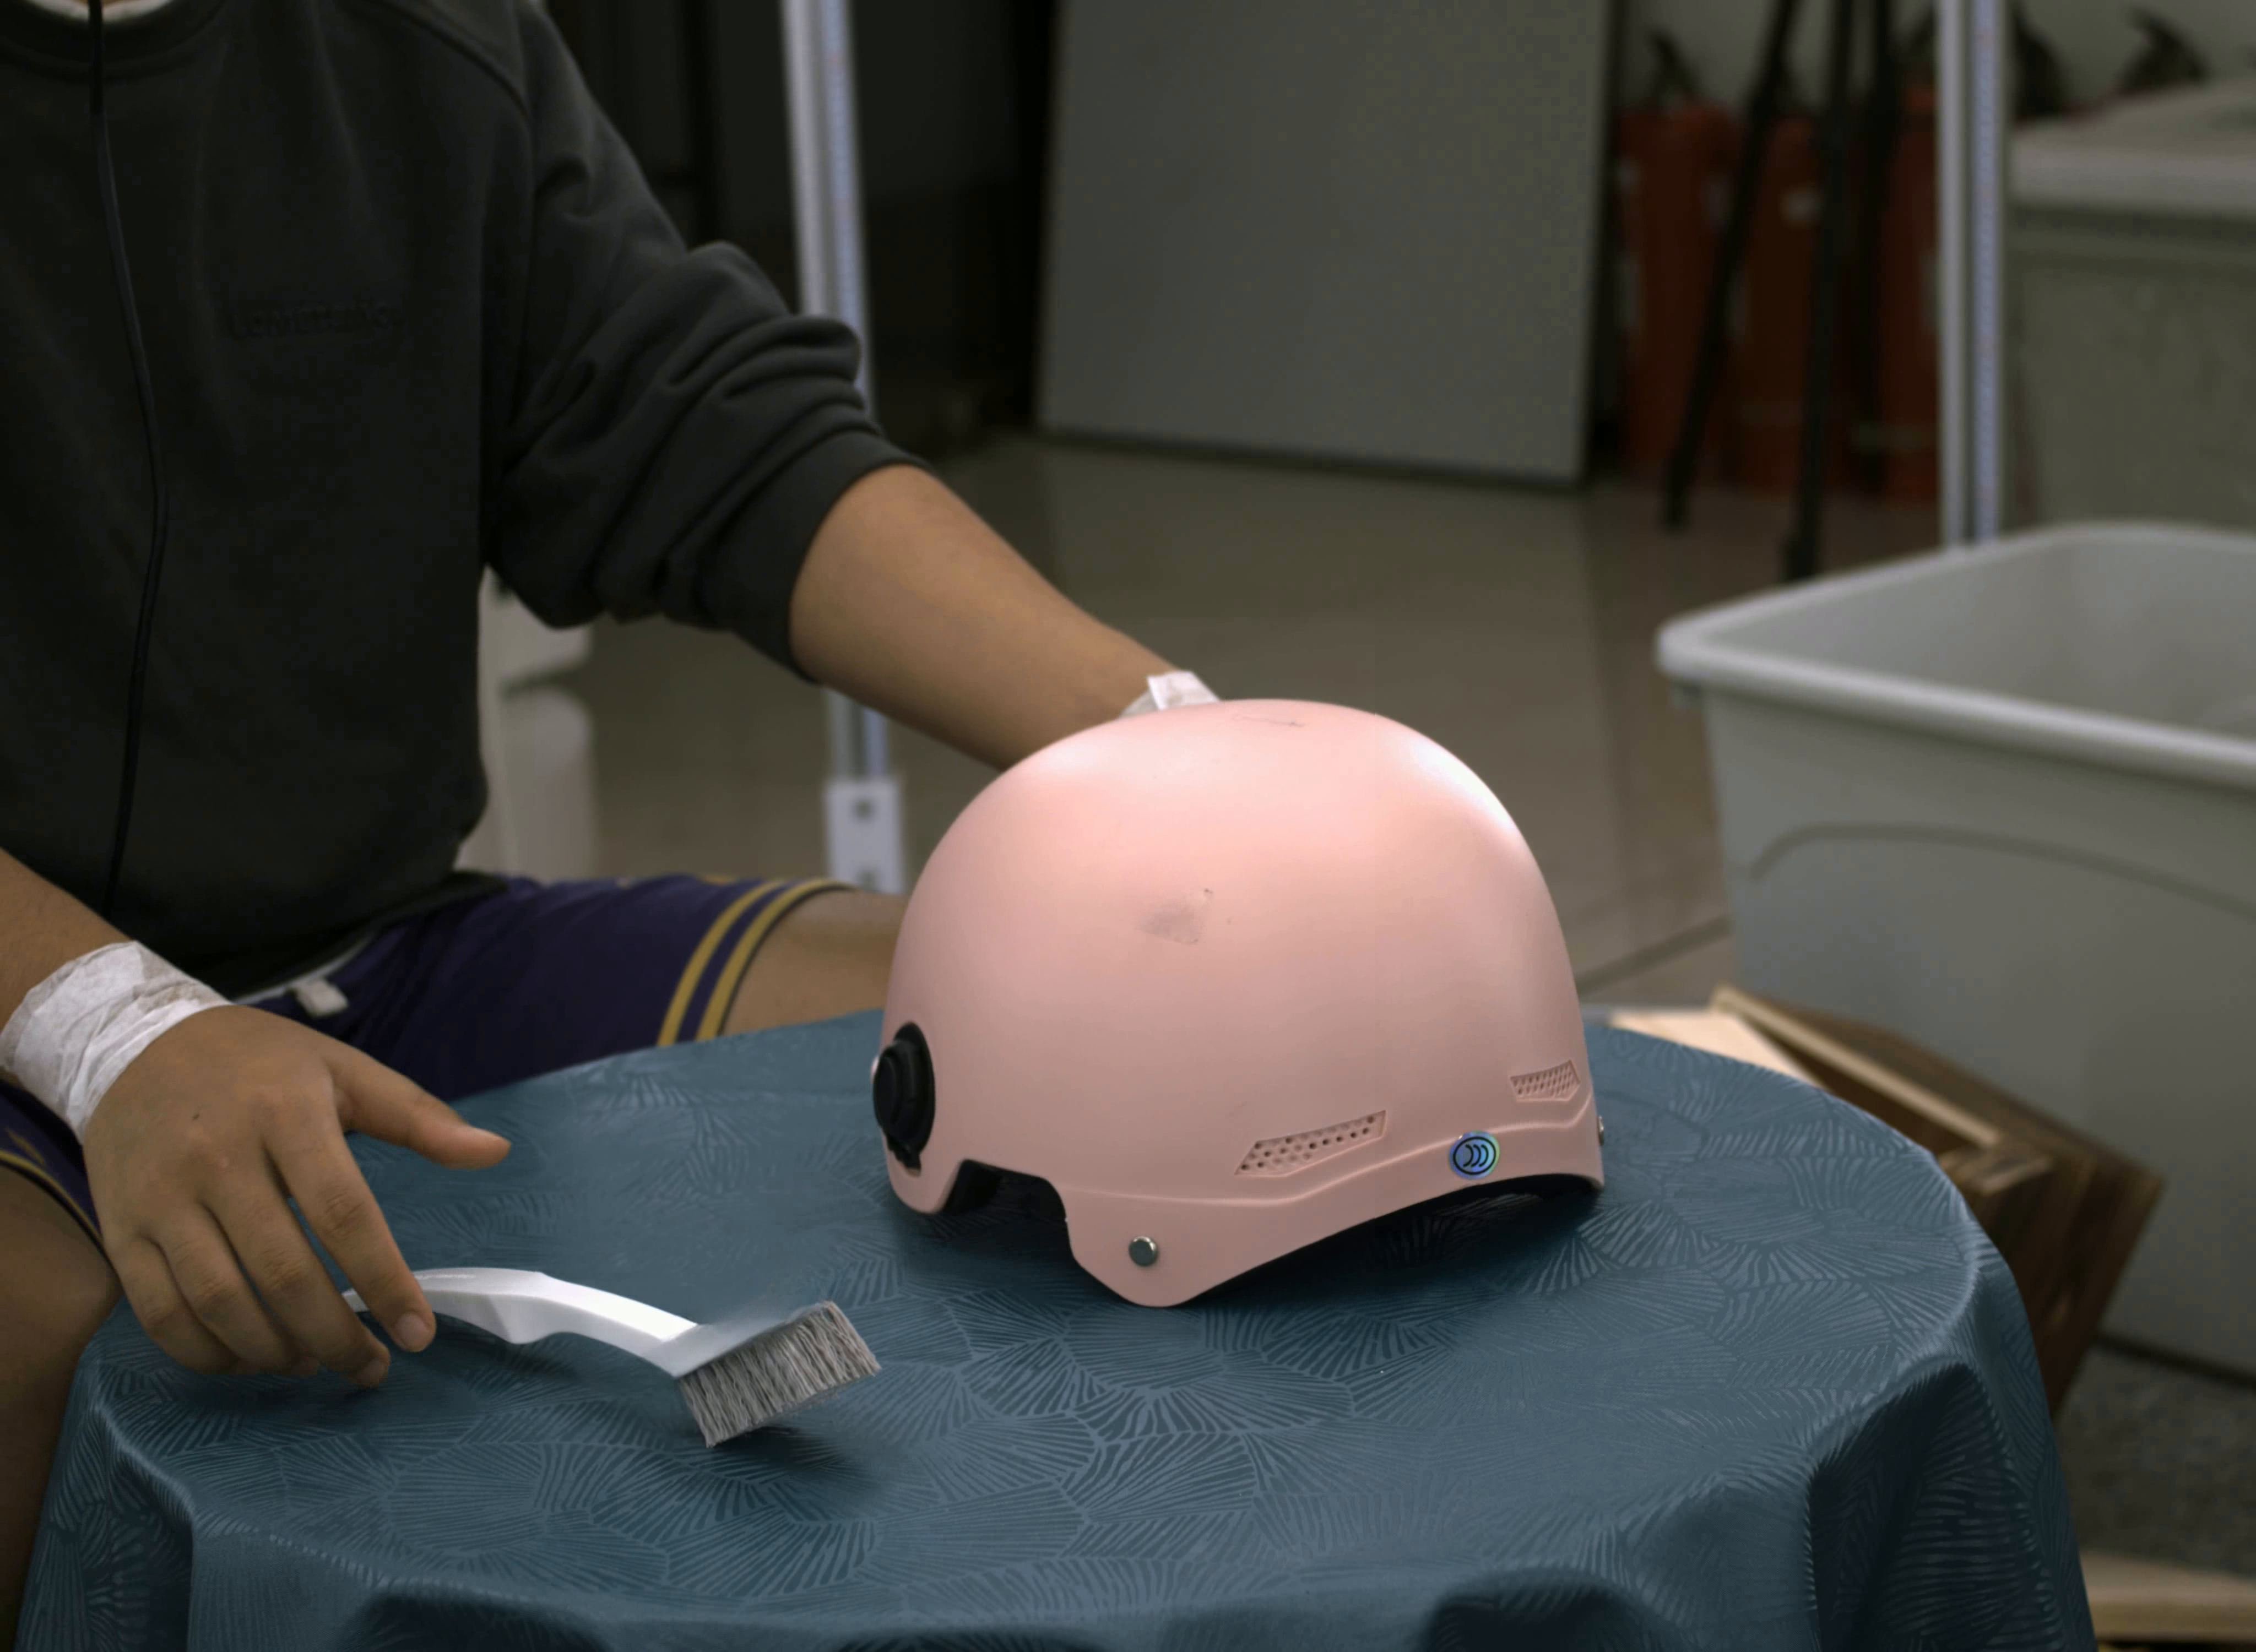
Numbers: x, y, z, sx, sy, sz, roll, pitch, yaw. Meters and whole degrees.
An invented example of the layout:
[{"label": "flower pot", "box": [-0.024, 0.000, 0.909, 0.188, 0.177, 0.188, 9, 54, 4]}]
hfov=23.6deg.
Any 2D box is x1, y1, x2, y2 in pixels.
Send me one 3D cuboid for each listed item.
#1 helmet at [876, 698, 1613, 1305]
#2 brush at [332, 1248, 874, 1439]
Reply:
[{"label": "helmet", "box": [0.030, 0.039, 1.748, 0.229, 0.160, 0.269, -13, 16, -30]}, {"label": "brush", "box": [-0.160, 0.158, 1.616, 0.034, 0.051, 0.246, -20, 7, -40]}]
